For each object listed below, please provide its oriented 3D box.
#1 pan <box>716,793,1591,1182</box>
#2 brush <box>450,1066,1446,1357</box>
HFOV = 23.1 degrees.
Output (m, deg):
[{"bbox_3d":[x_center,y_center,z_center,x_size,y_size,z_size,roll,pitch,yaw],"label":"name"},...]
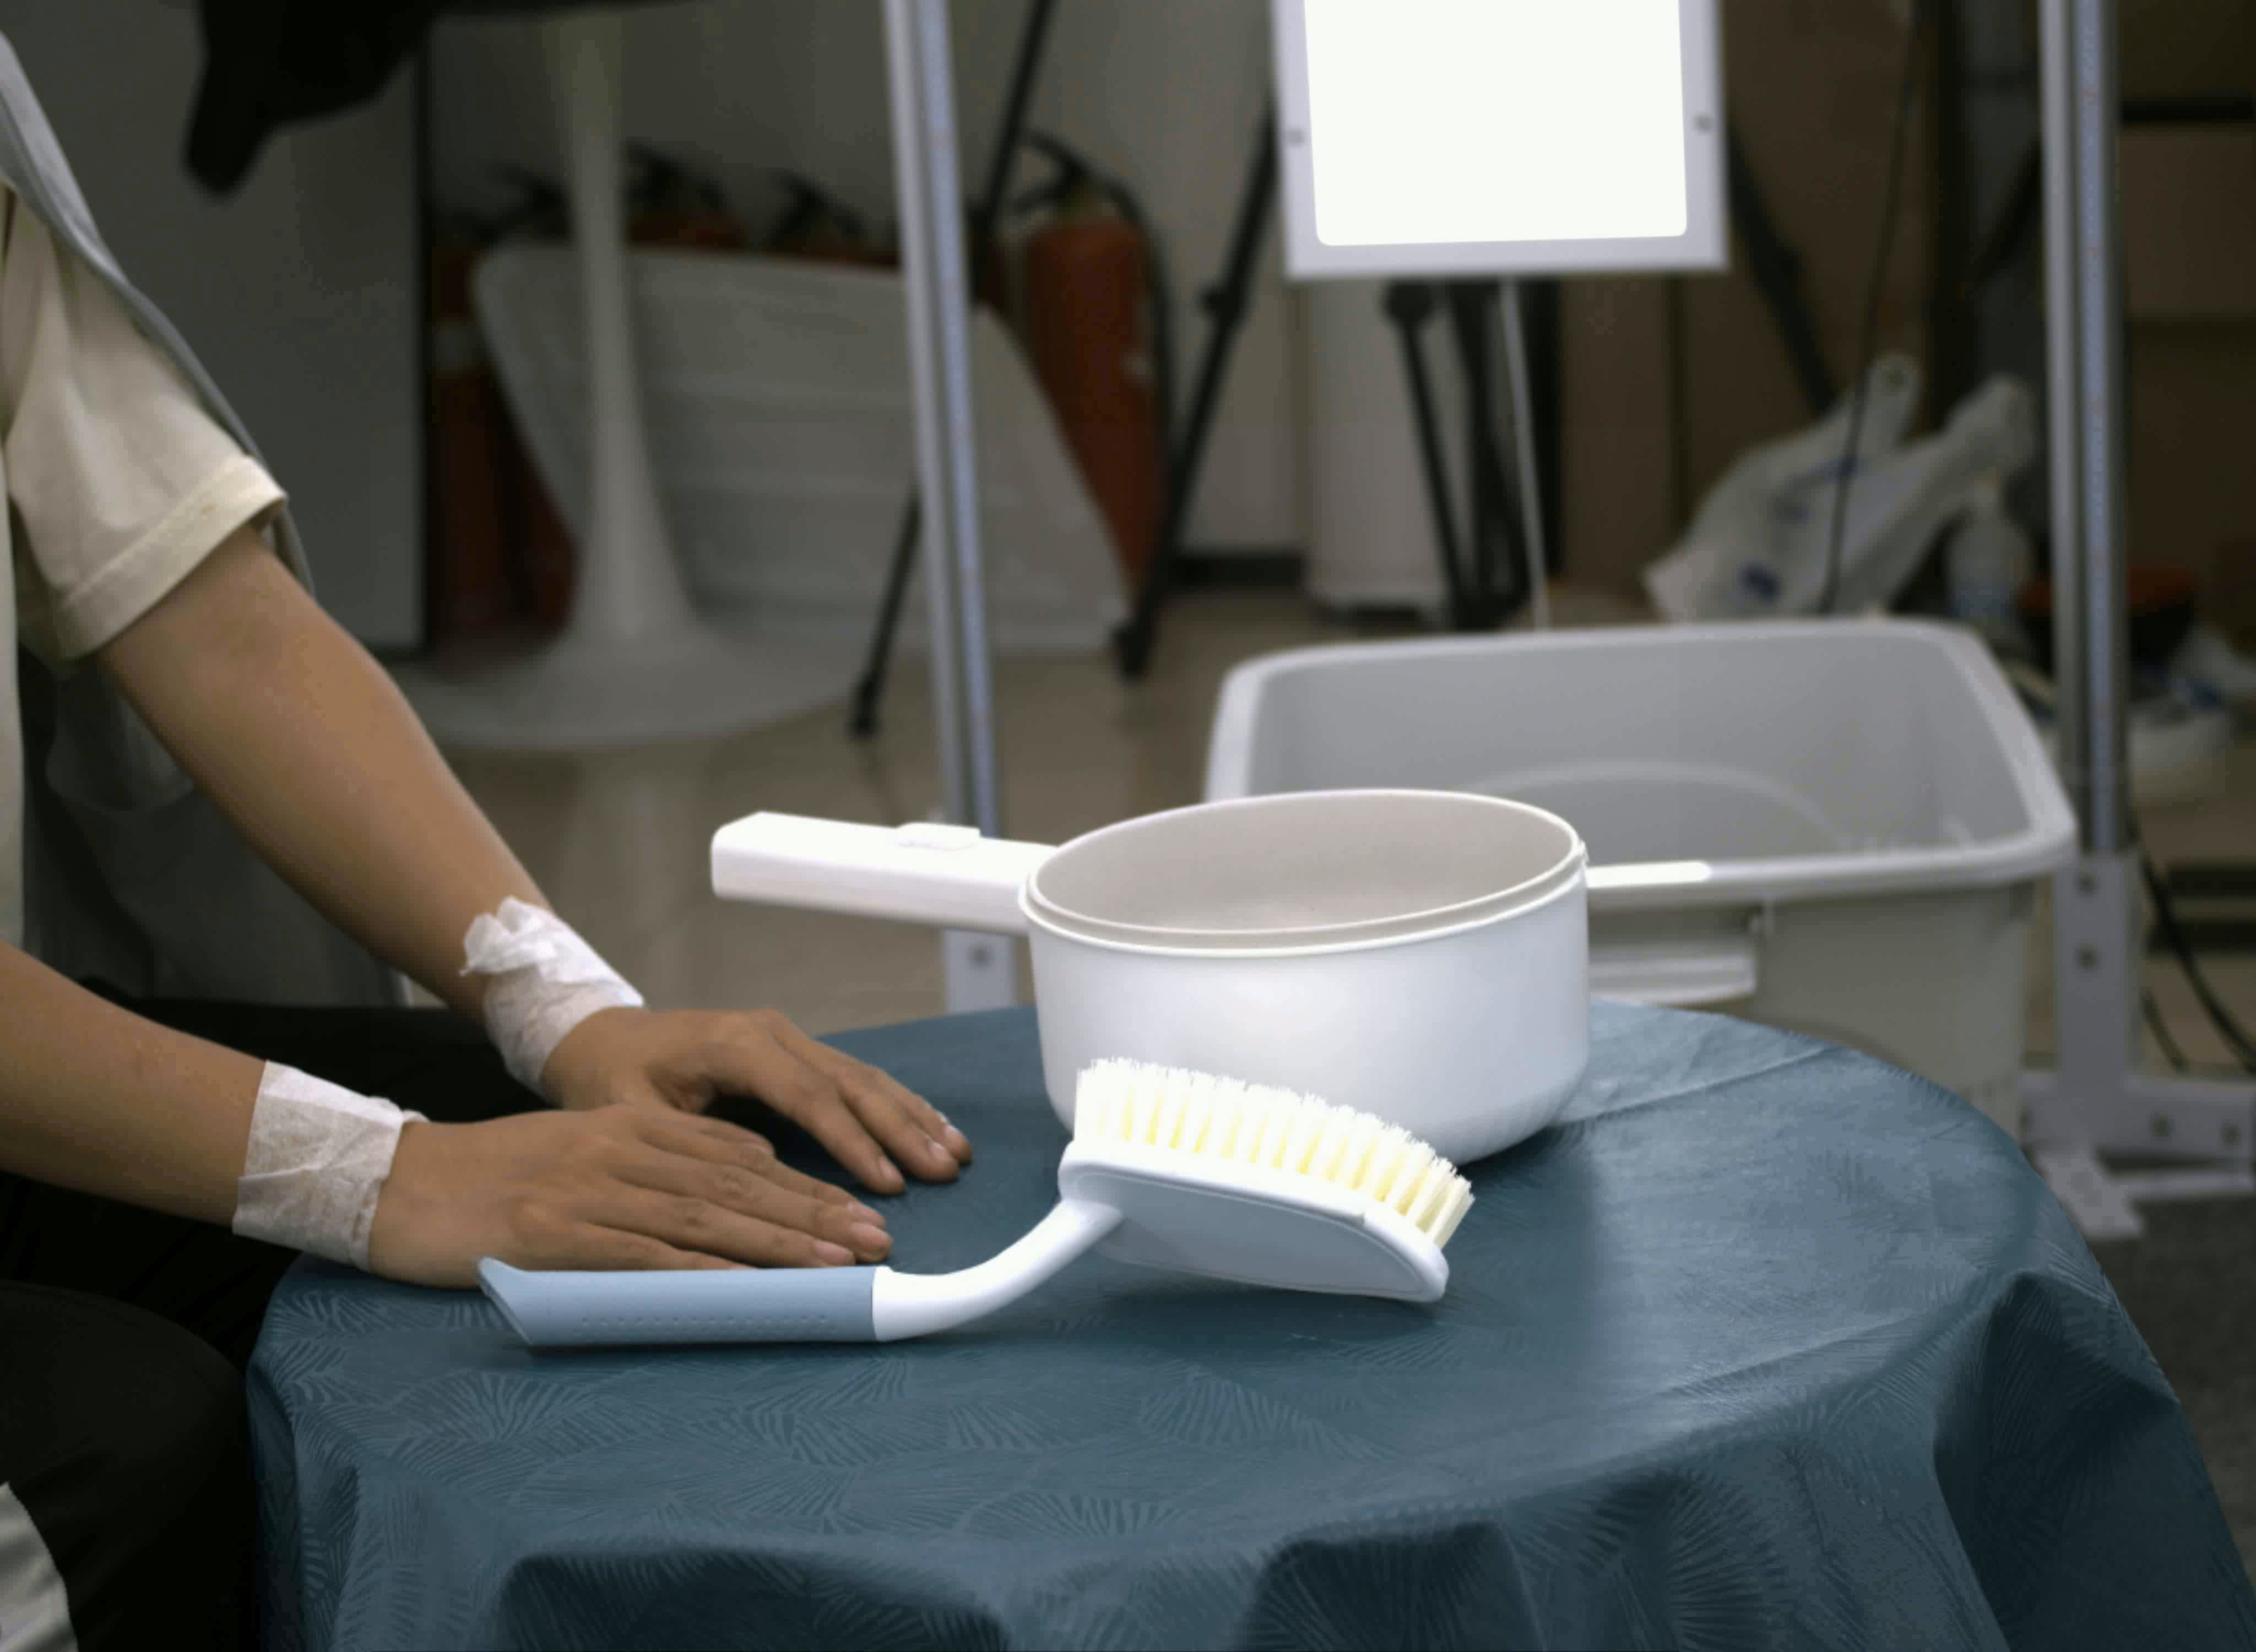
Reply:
[{"bbox_3d":[0.002,0.056,1.979,0.362,0.102,0.196,4,17,36],"label":"pan"},{"bbox_3d":[-0.059,0.119,1.779,0.327,0.083,0.083,-2,18,11],"label":"brush"}]
